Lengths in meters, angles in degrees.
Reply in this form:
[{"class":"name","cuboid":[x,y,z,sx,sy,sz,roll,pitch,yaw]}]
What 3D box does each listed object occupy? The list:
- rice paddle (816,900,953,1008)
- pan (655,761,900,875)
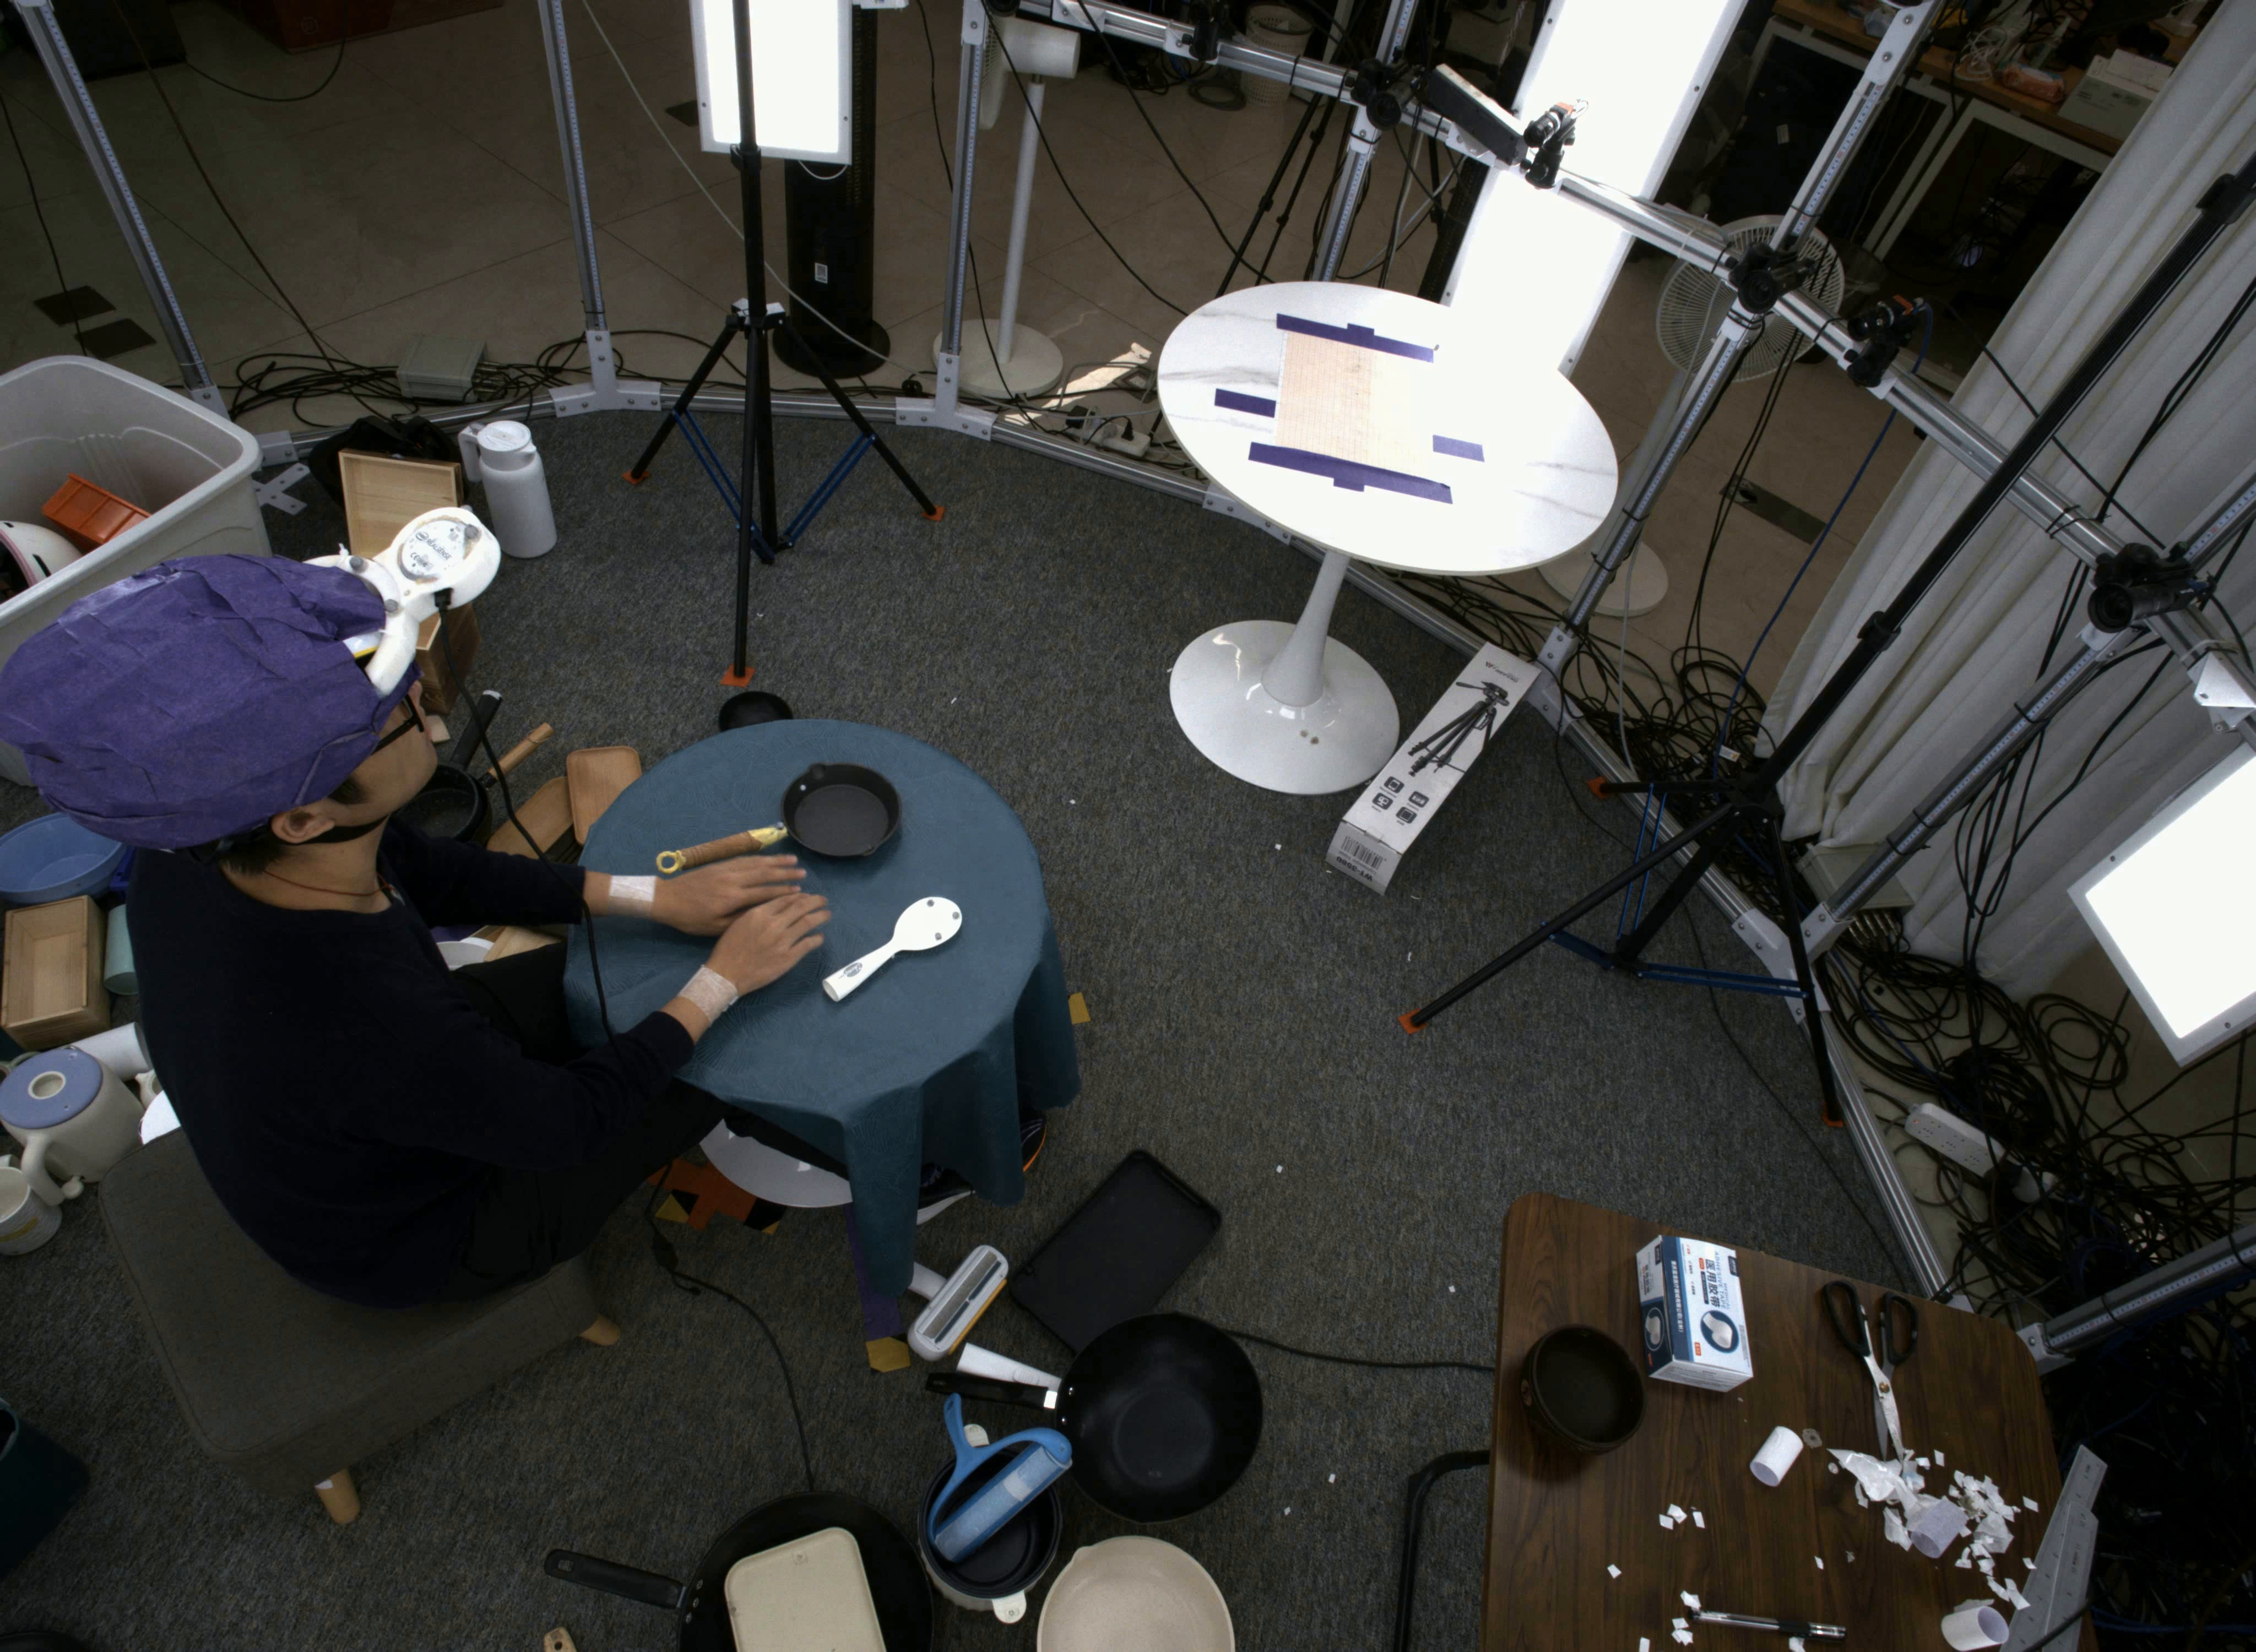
[{"class":"rice paddle","cuboid":[-0.300,0.153,1.618,0.067,0.030,0.205,42,53,16]},{"class":"pan","cuboid":[-0.450,0.005,1.670,0.326,0.050,0.165,-20,61,-29]}]
